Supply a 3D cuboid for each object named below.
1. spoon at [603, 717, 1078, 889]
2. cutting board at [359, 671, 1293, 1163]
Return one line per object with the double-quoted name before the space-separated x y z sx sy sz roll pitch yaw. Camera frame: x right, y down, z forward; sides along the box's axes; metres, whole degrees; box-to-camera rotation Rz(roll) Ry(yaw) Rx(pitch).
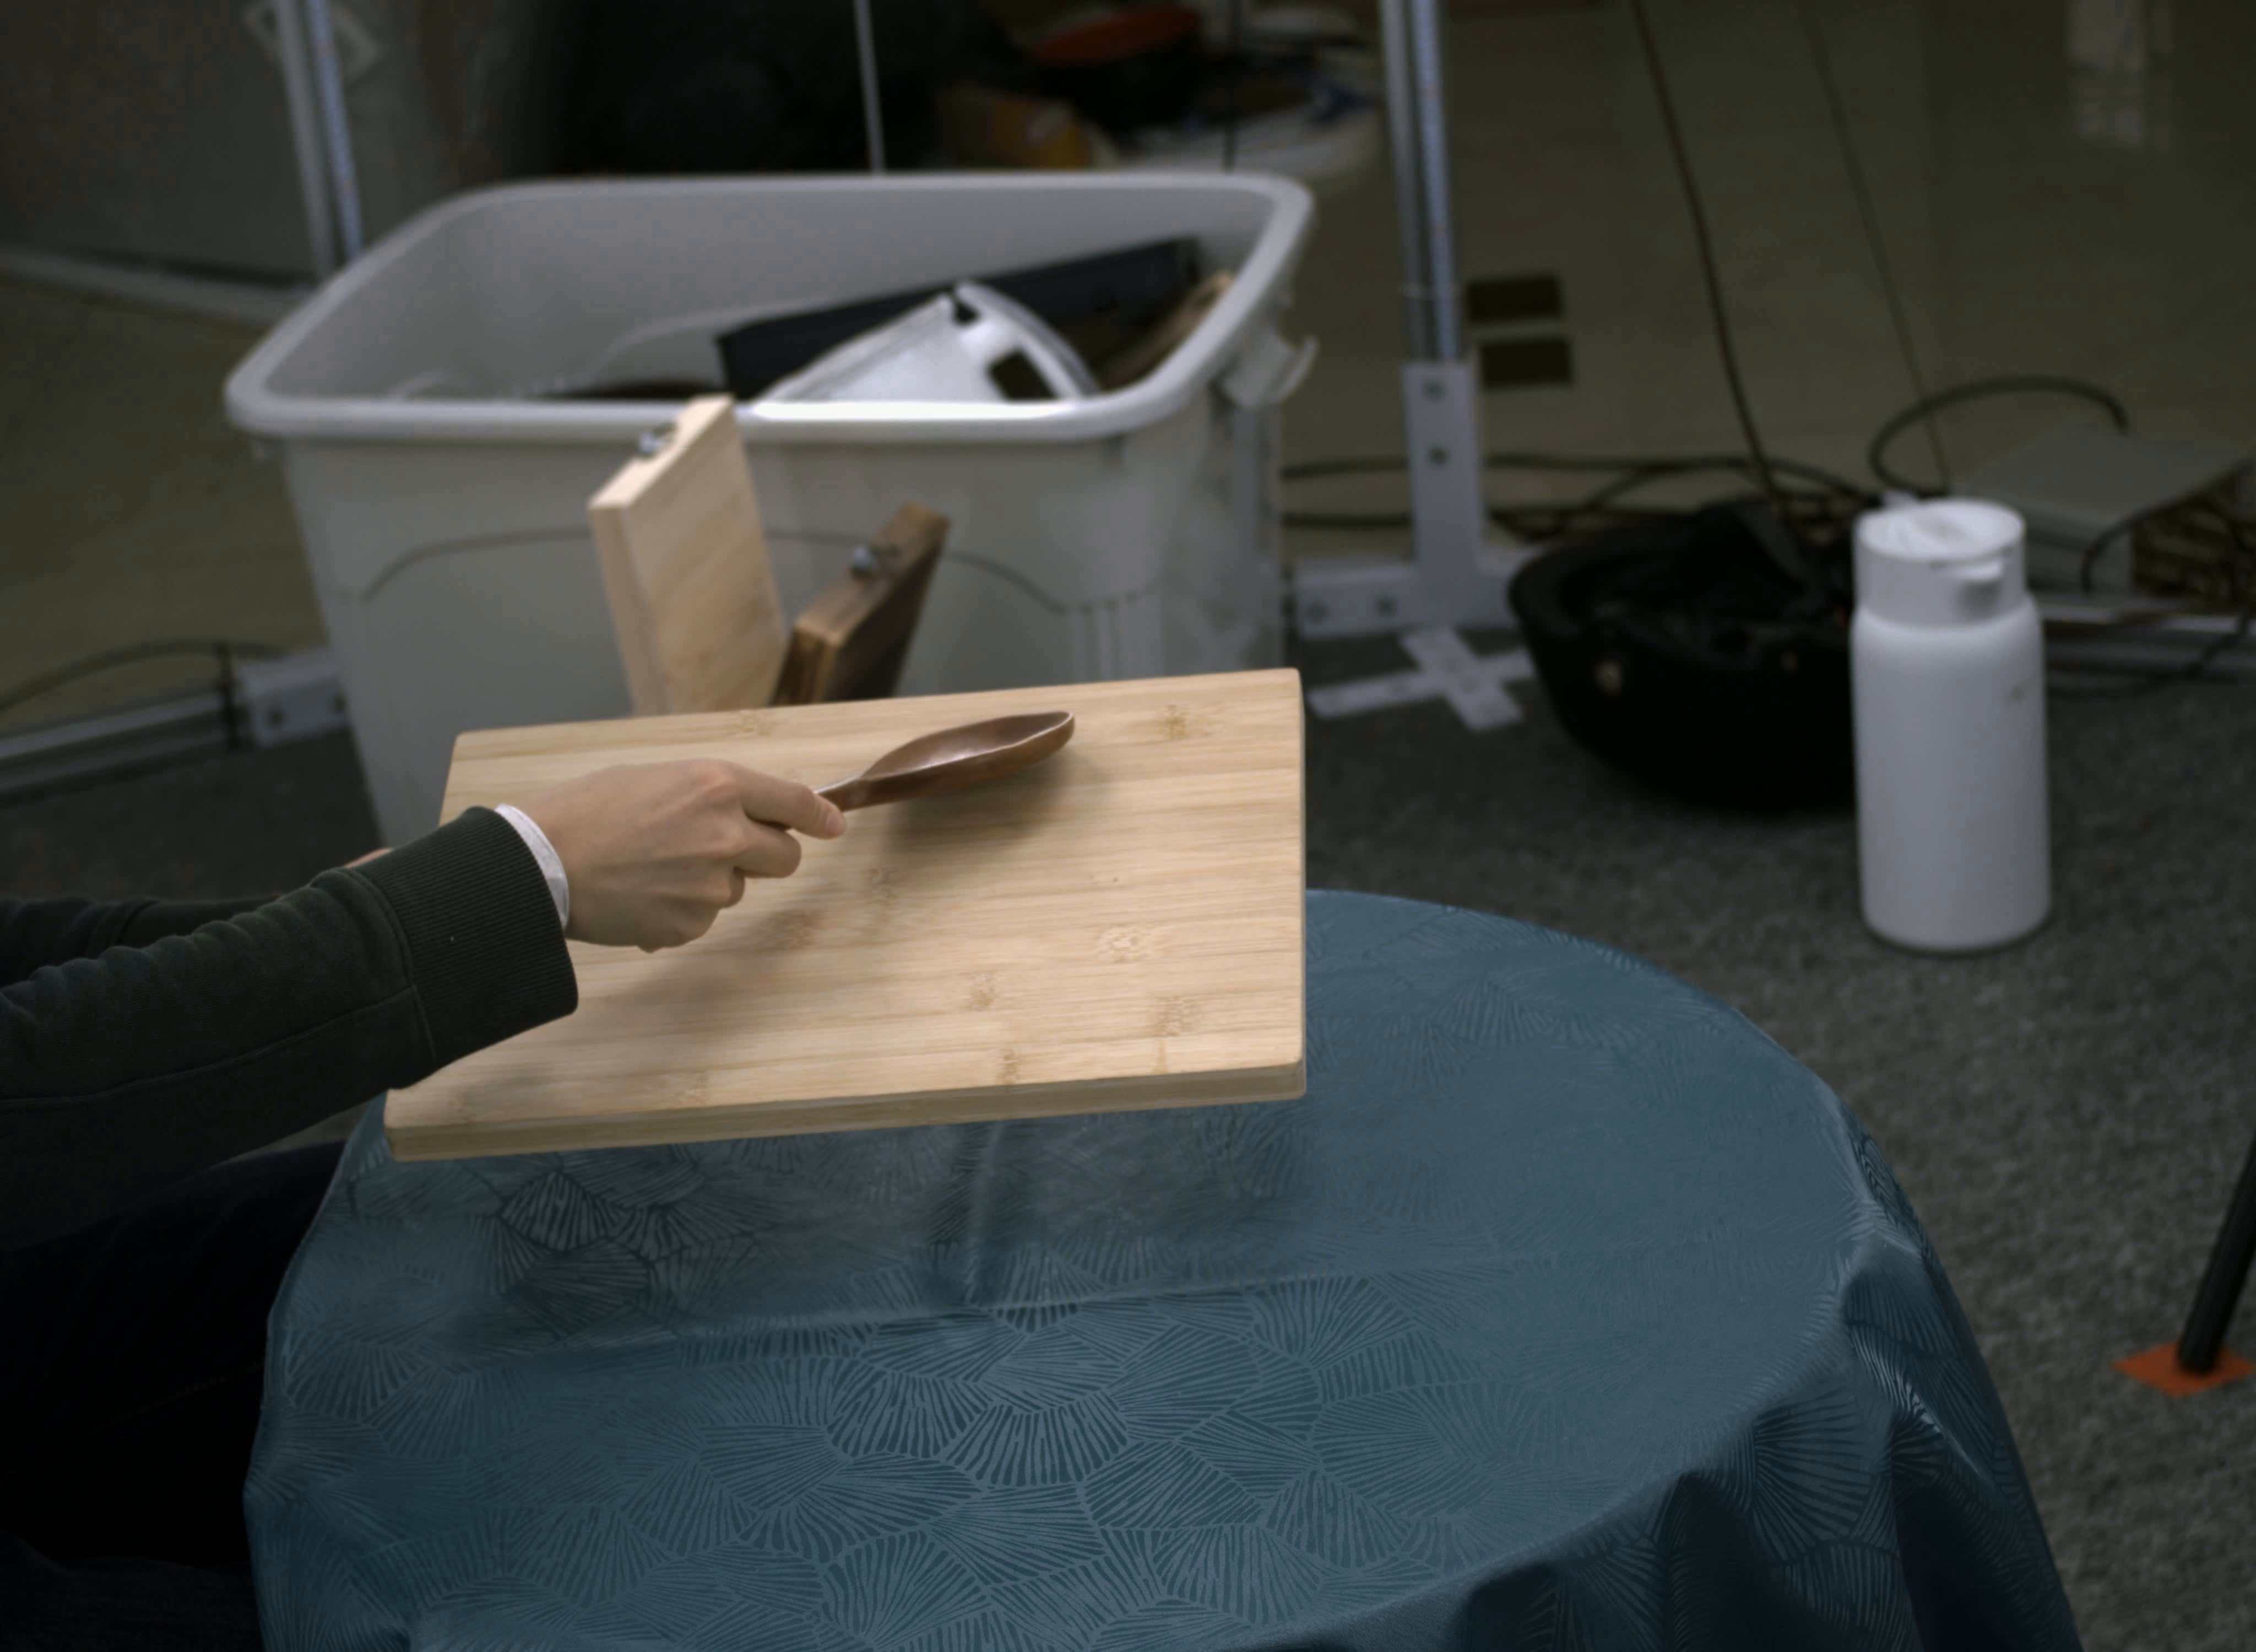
"spoon" -0.108 -0.010 2.140 0.214 0.017 0.075 -18 14 -37
"cutting board" -0.108 0.032 2.163 0.348 0.024 0.246 -5 38 4
